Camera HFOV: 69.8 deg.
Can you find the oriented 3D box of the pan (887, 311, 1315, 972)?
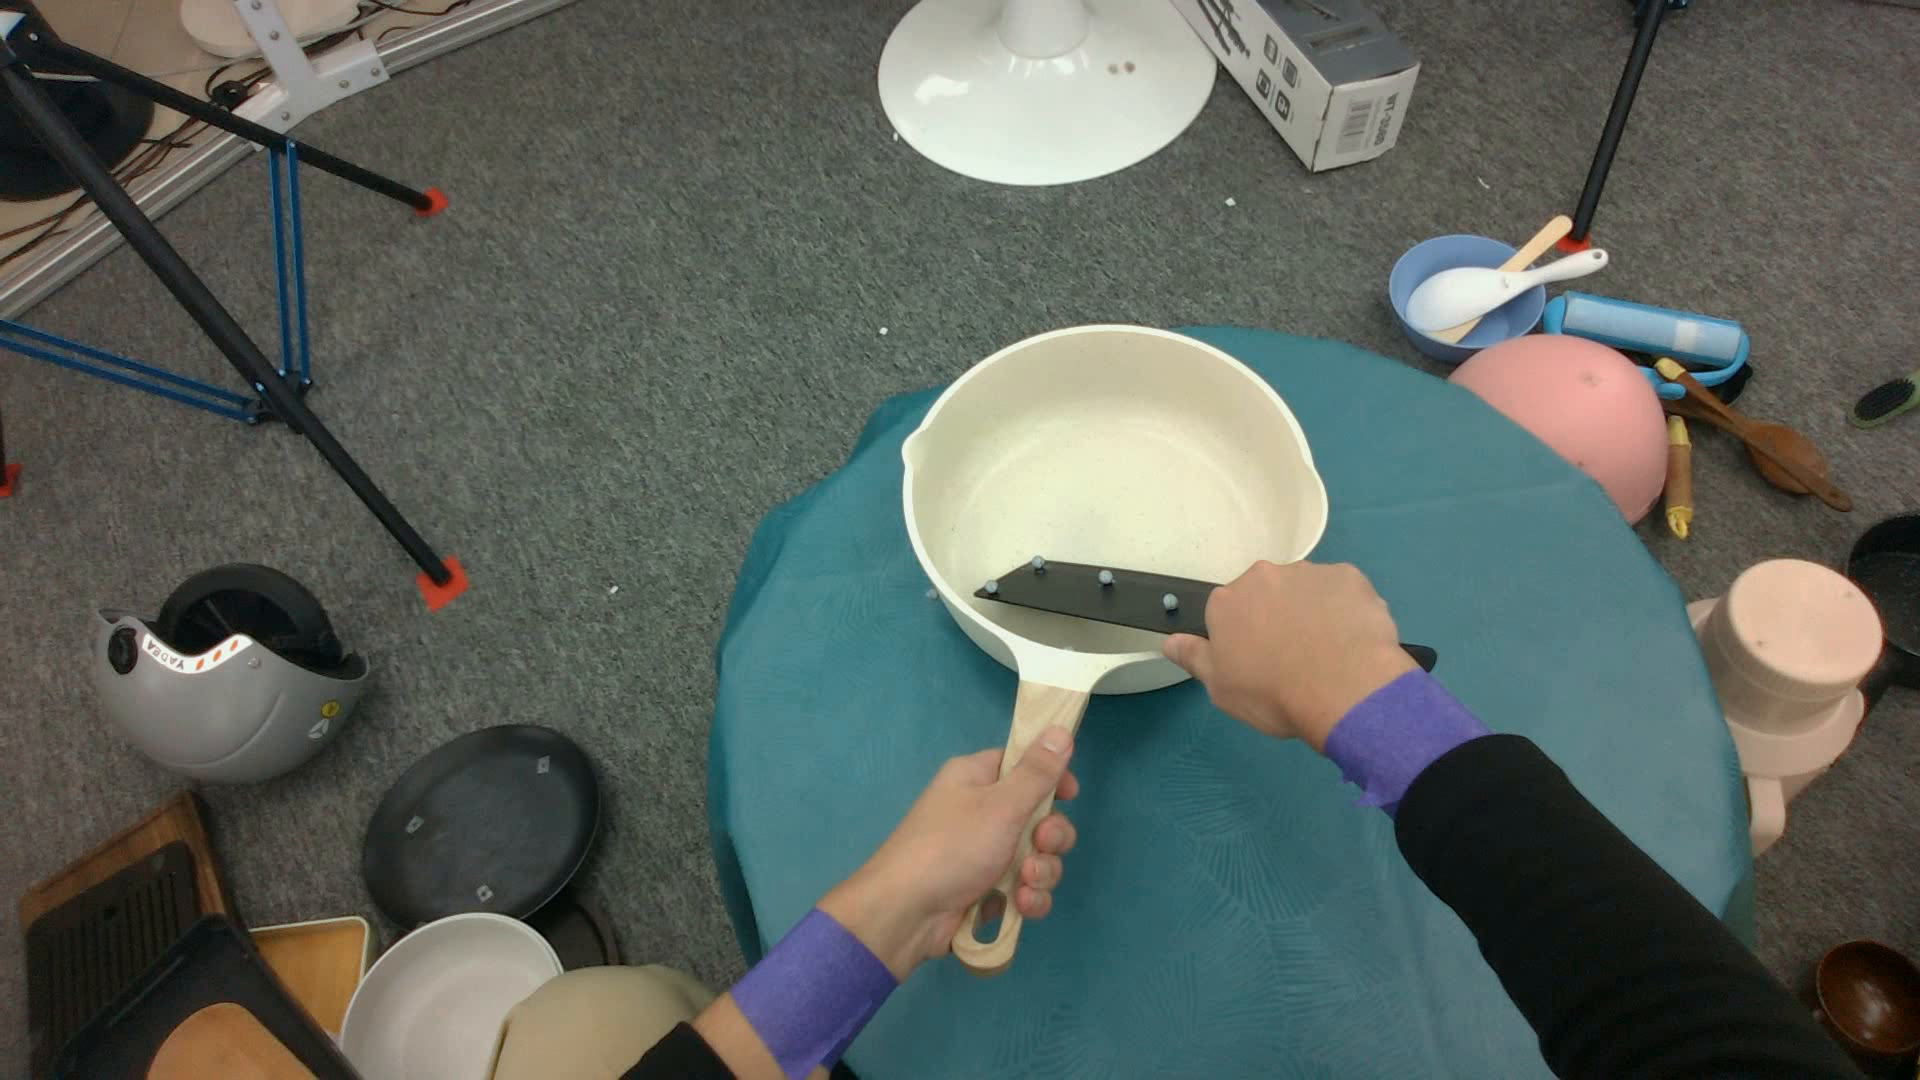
[{"bbox_3d":[0.062,0.049,0.819,0.263,0.101,0.437,10,59,10],"label":"pan"}]

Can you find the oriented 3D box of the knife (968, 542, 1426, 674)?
[{"bbox_3d":[0.123,0.031,0.776,0.081,0.021,0.302,-26,24,-33],"label":"knife"}]
